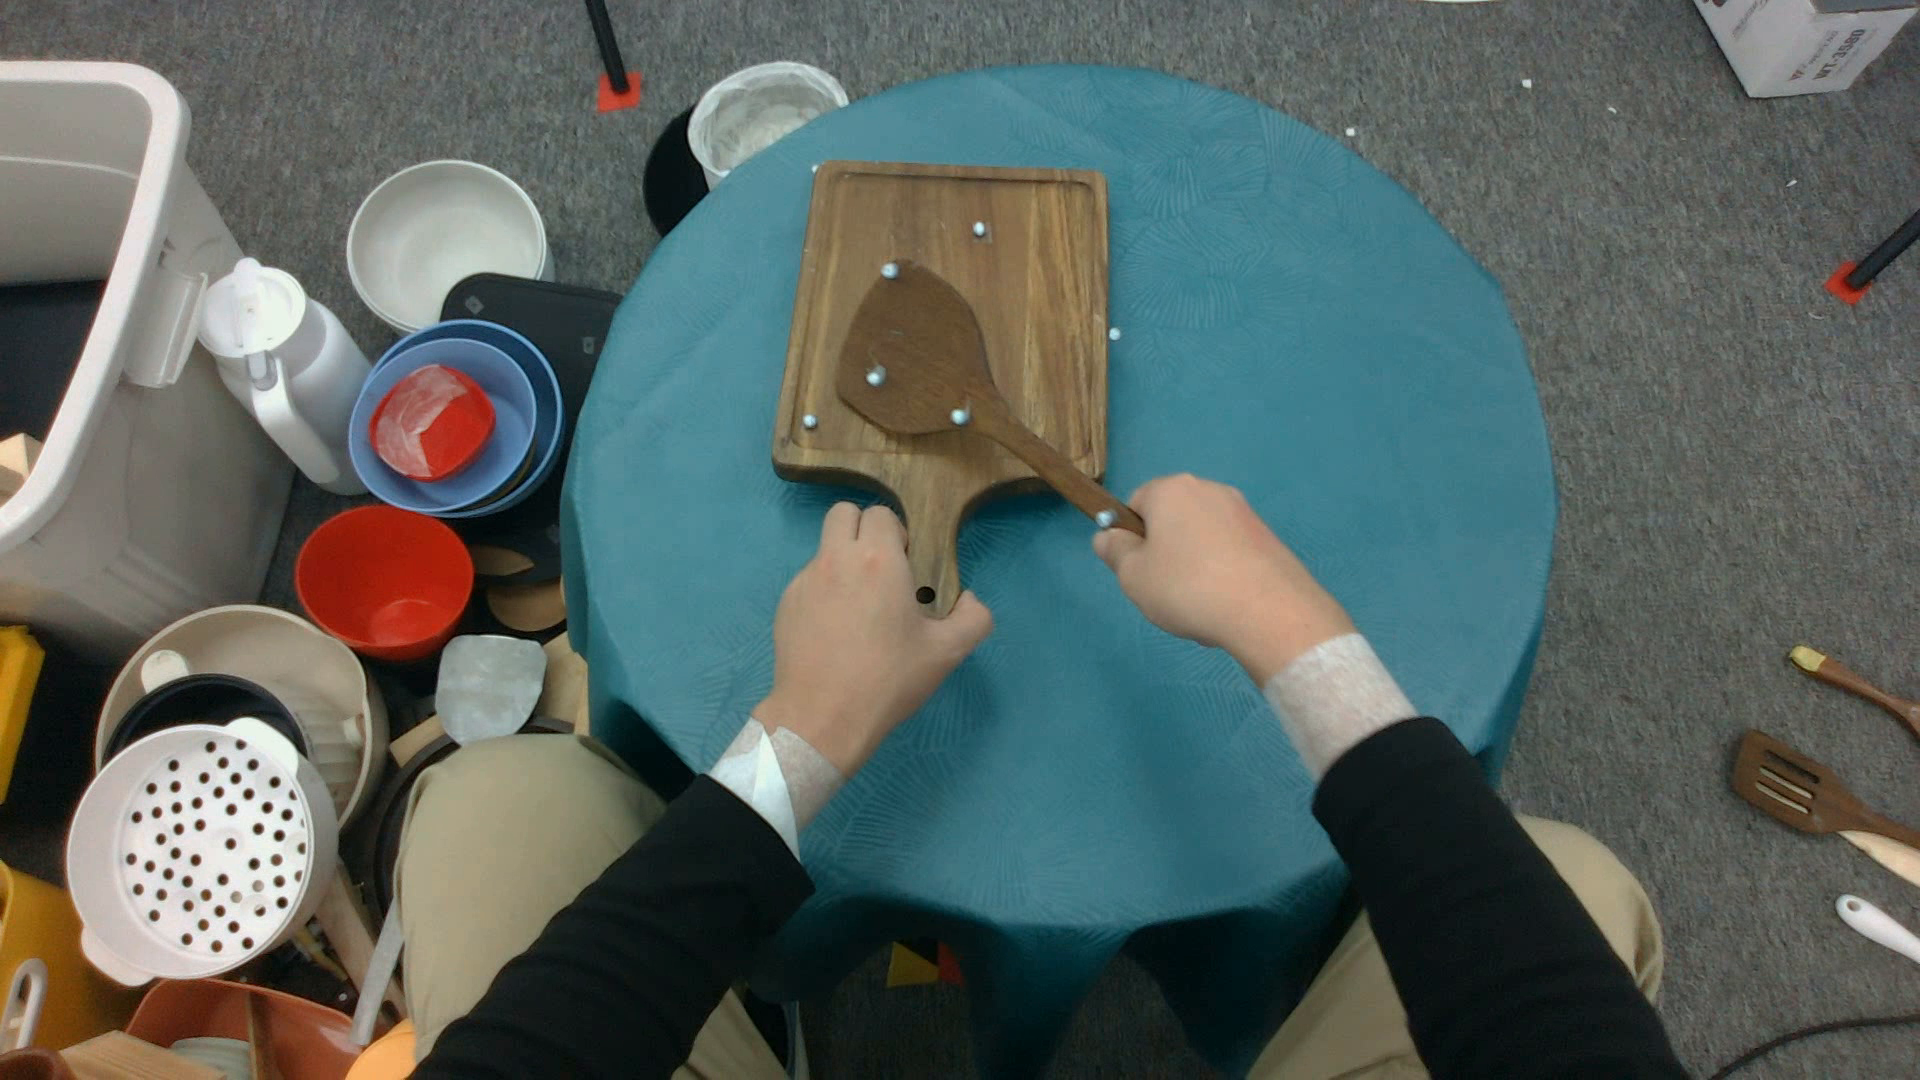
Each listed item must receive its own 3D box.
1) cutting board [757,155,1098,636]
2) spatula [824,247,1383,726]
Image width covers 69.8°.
[{"bbox_3d":[-0.018,-0.103,0.833,0.201,0.023,0.353,2,58,1],"label":"cutting board"},{"bbox_3d":[0.062,-0.029,0.720,0.386,0.016,0.096,41,114,29],"label":"spatula"}]
